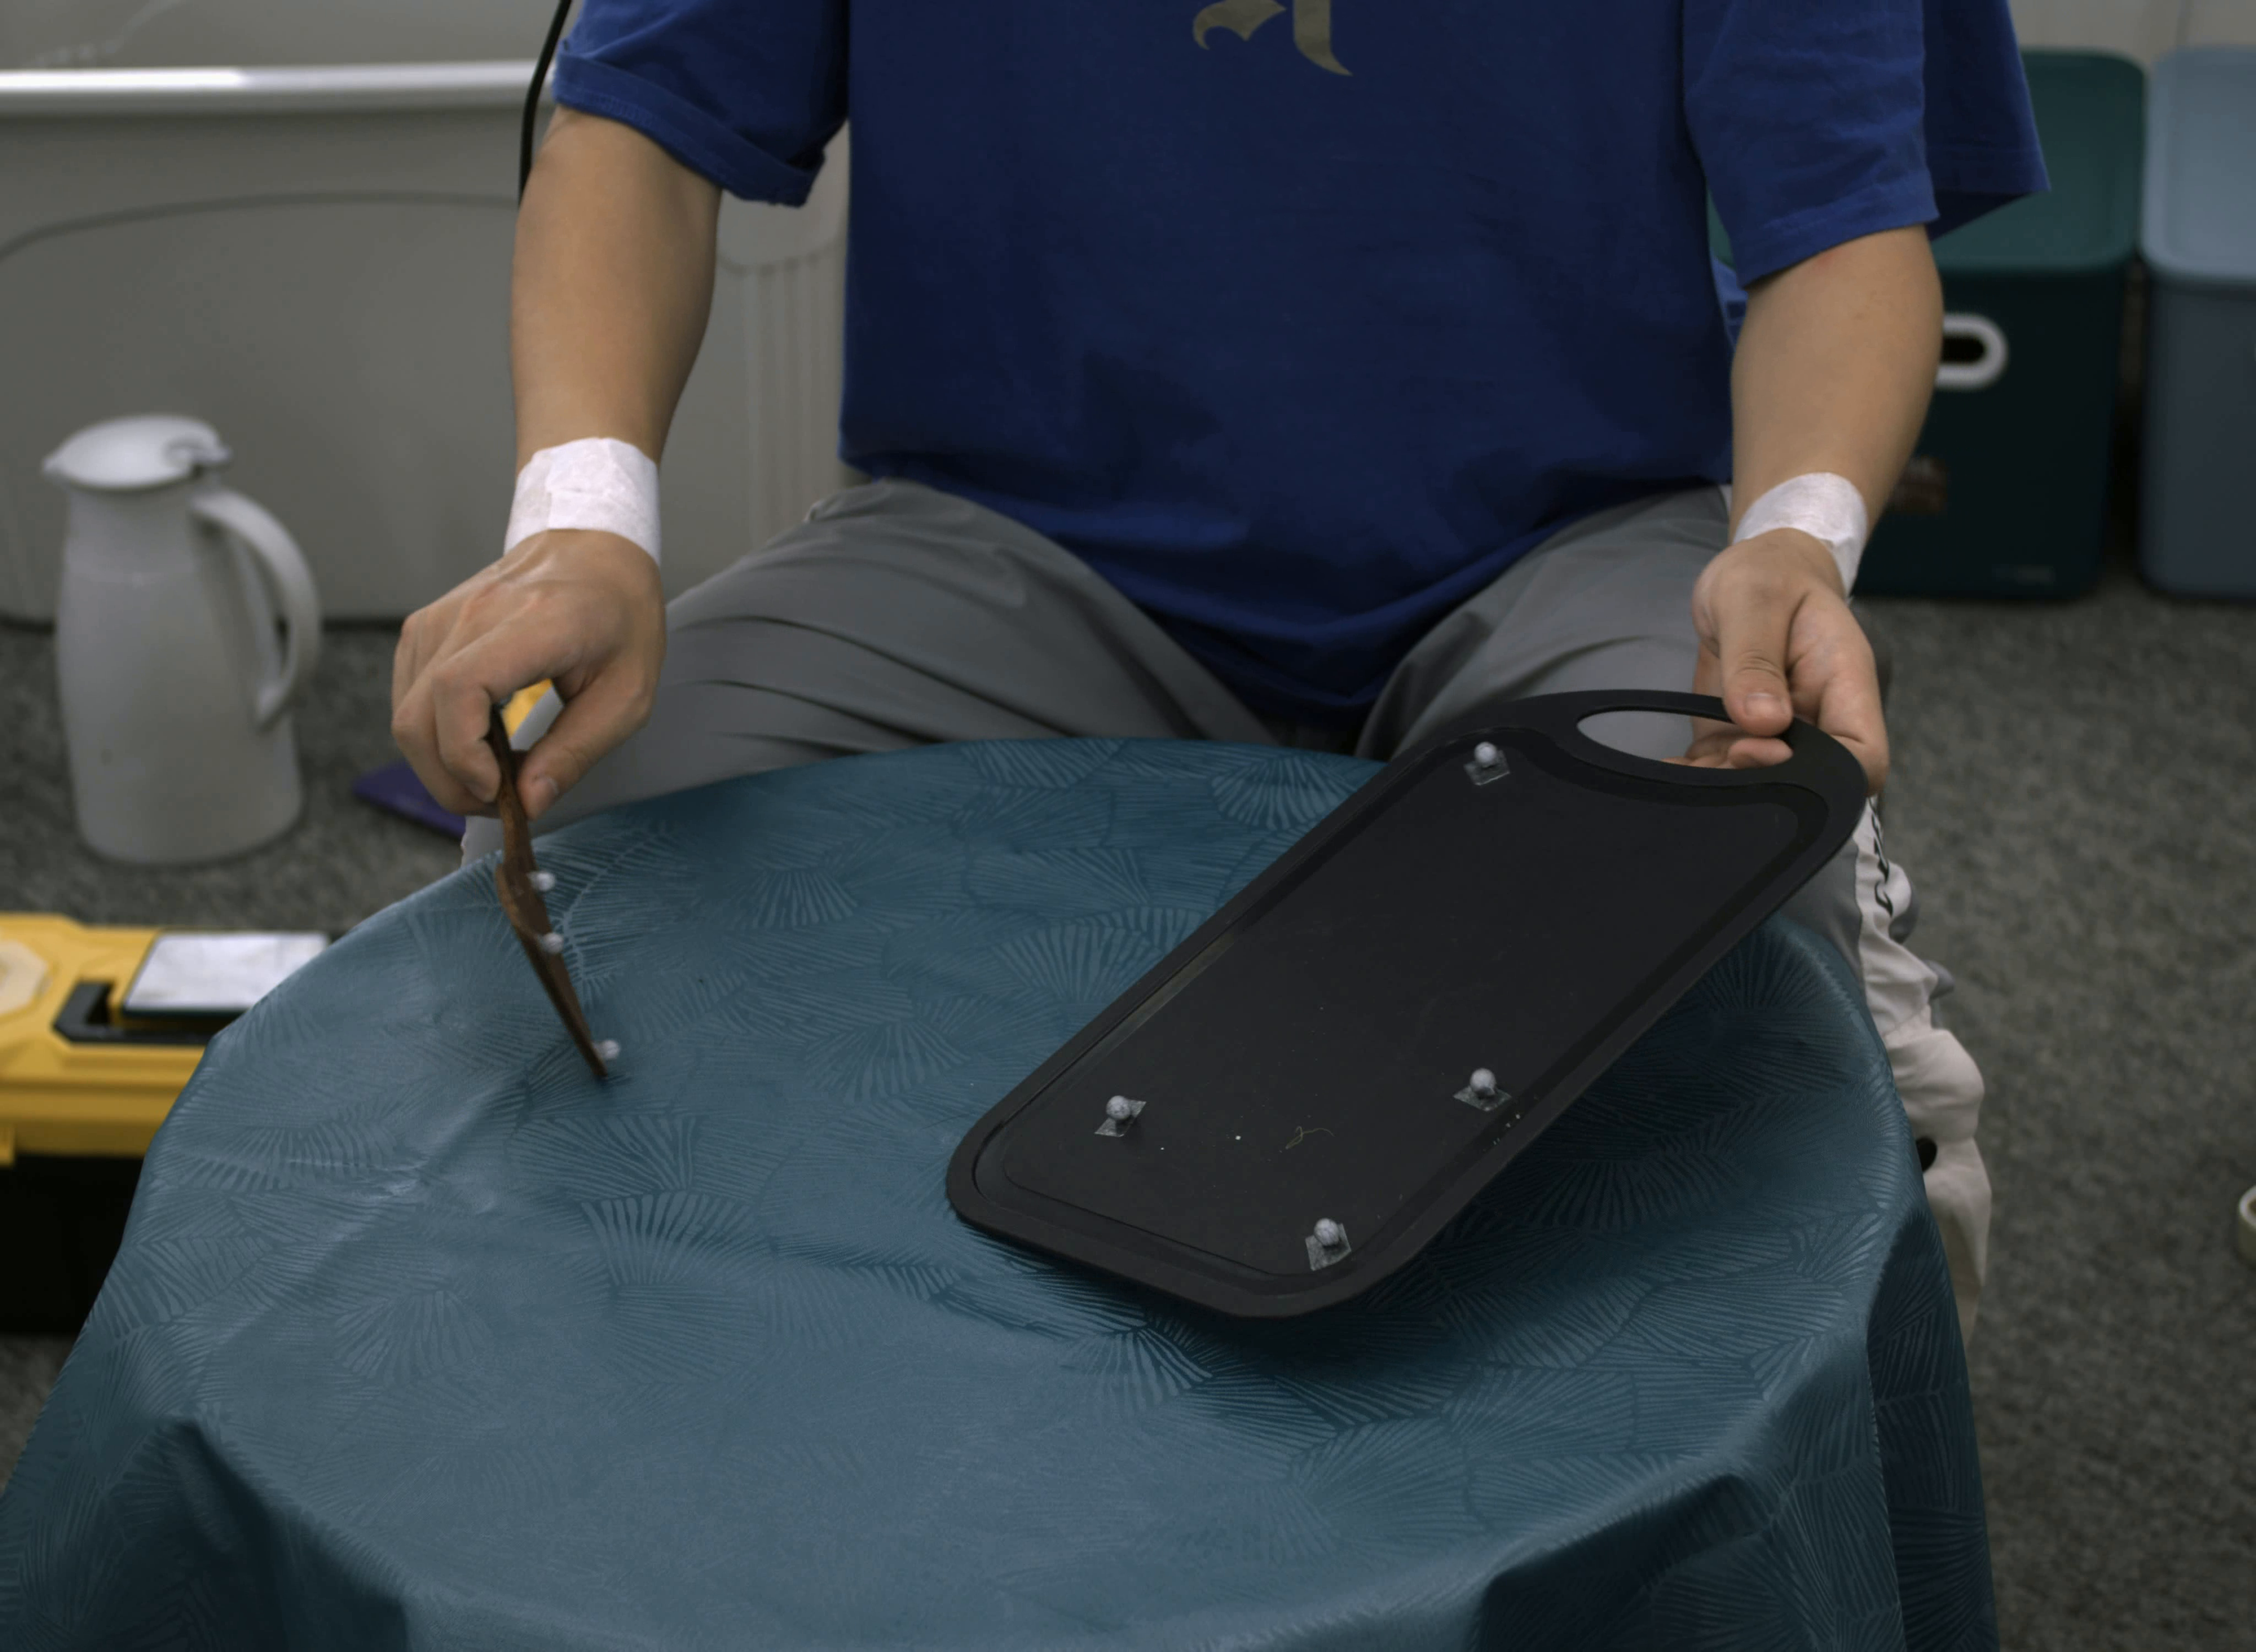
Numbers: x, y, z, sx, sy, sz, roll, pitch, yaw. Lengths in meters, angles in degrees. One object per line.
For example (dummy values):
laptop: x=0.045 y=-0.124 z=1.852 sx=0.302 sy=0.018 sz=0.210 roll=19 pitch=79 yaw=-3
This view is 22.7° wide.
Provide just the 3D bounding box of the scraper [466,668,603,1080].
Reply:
scraper: x=-0.218 y=0.009 z=1.999 sx=0.011 sy=0.075 sz=0.214 roll=-25 pitch=36 yaw=4

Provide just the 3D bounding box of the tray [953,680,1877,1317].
tray: x=0.100 y=0.046 z=1.876 sx=0.330 sy=0.010 sz=0.210 roll=-40 pitch=33 yaw=-28
